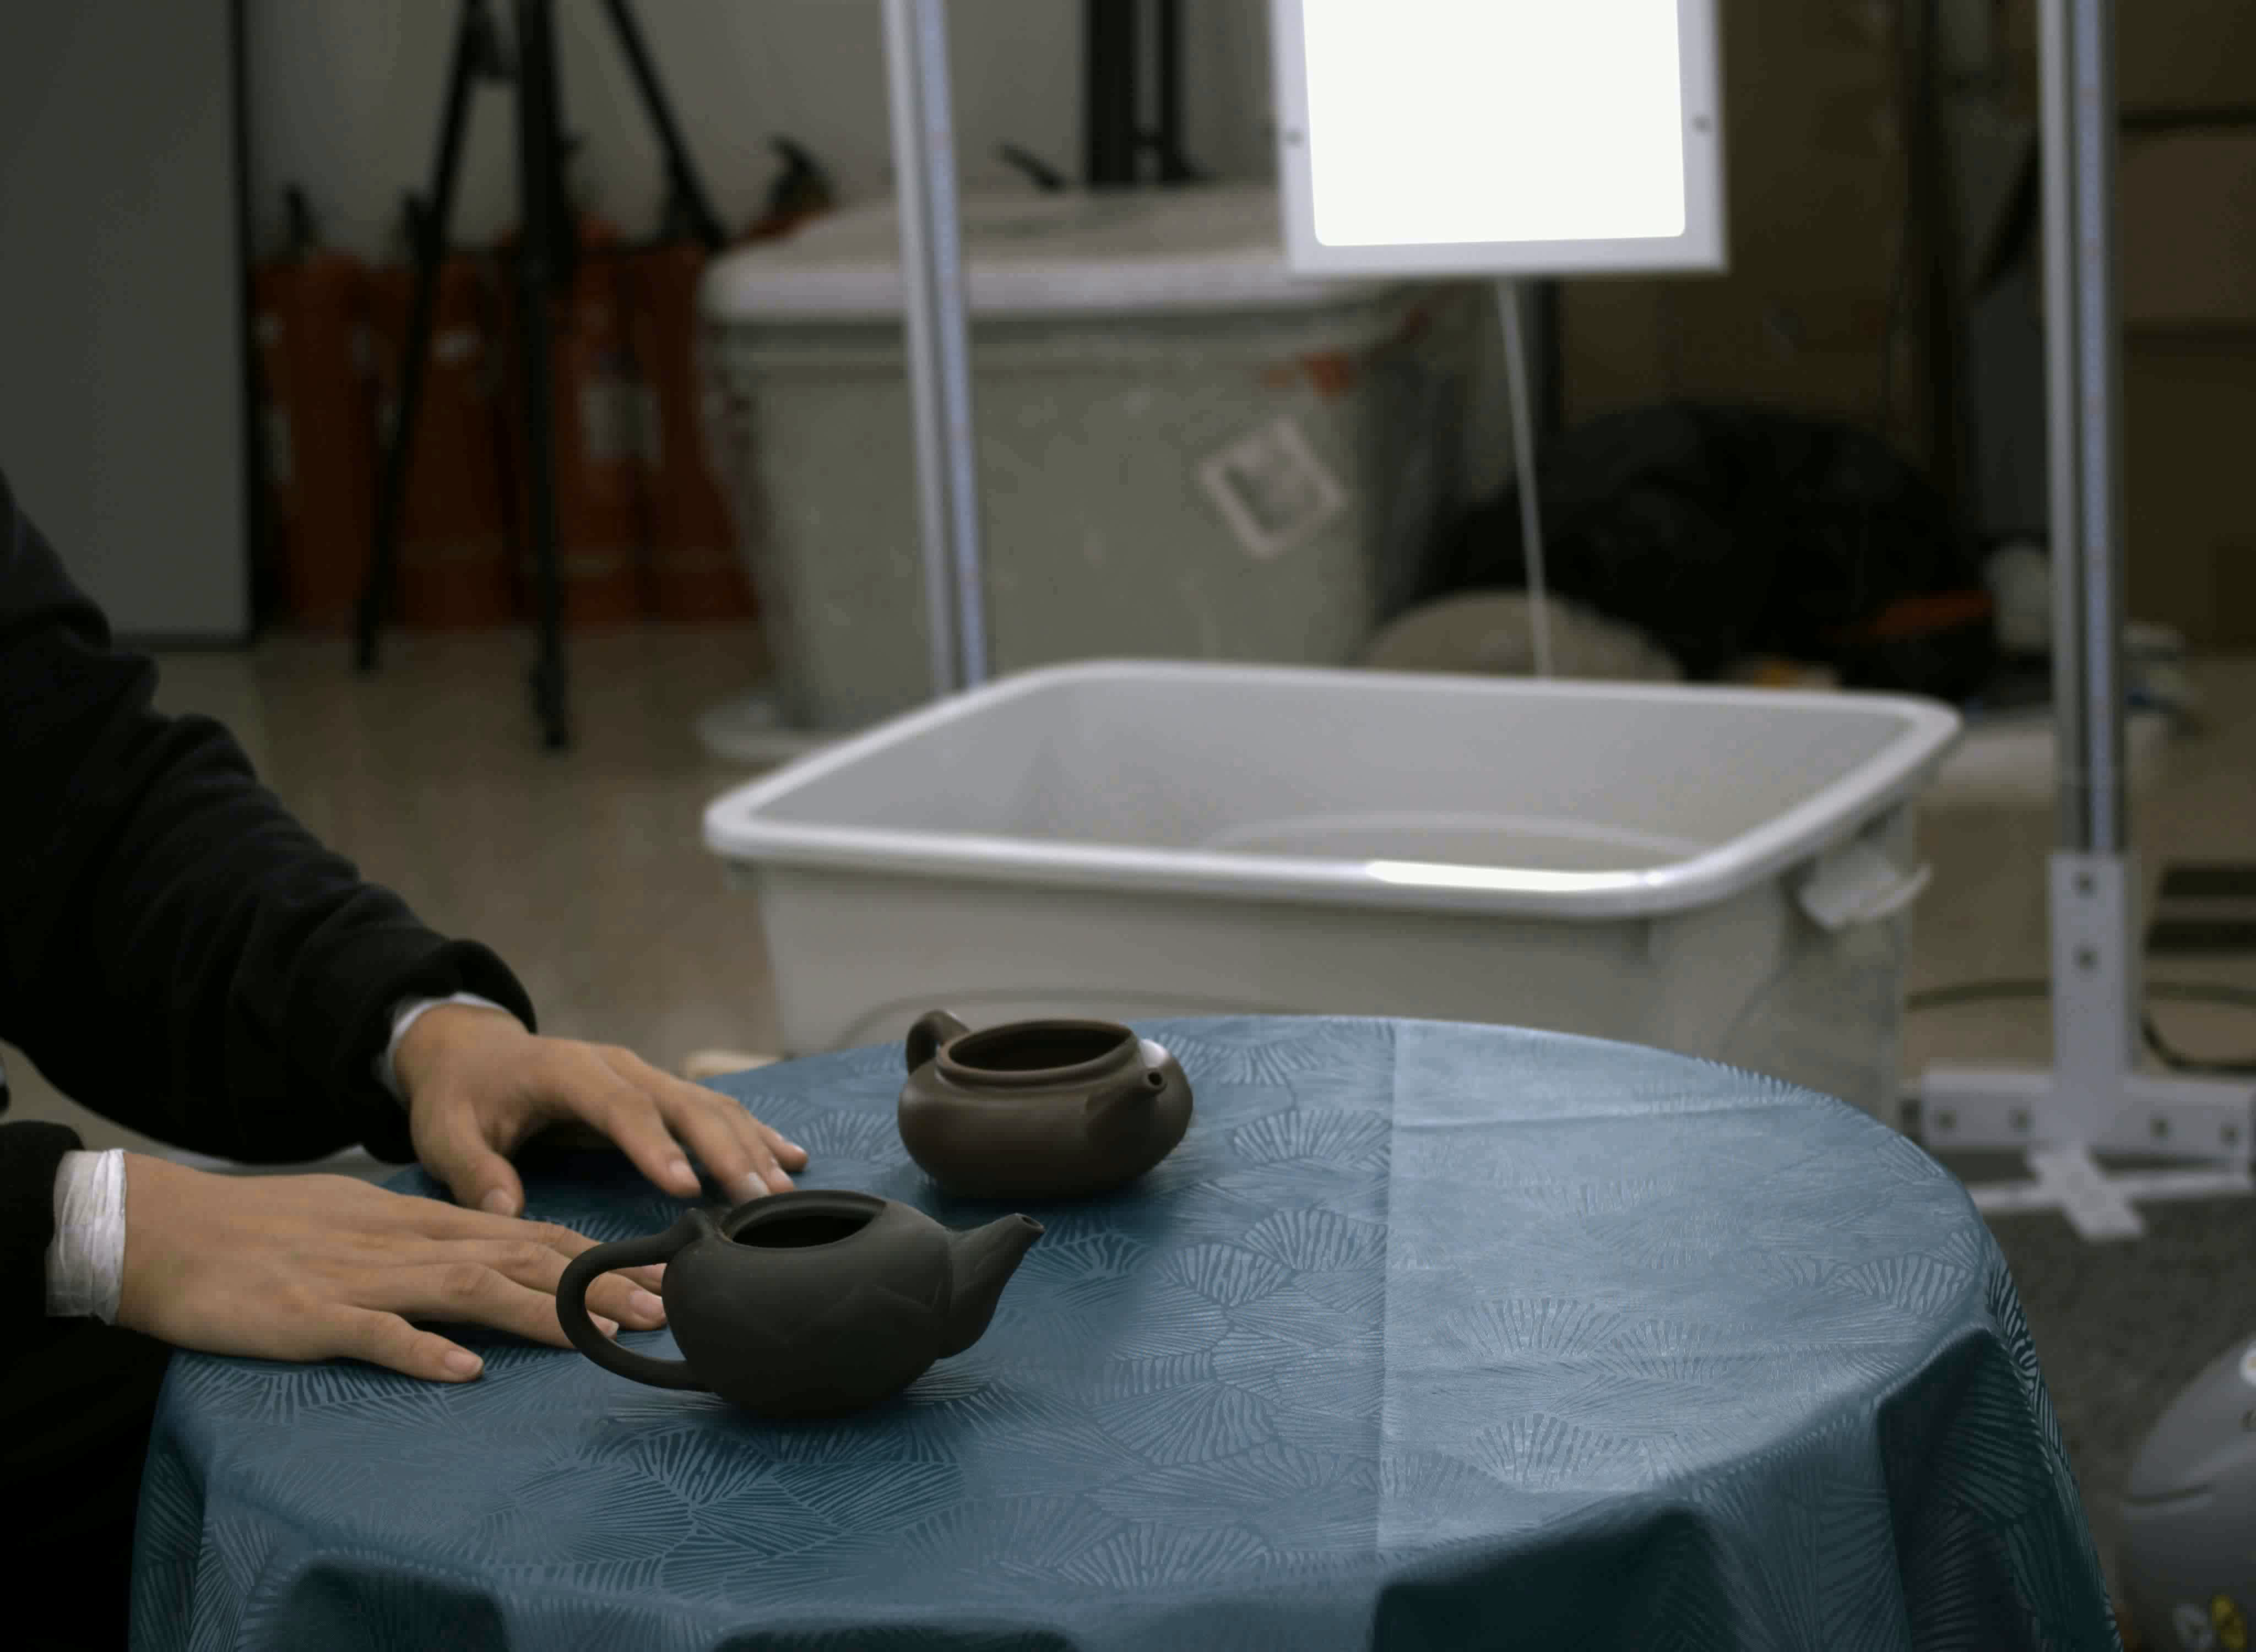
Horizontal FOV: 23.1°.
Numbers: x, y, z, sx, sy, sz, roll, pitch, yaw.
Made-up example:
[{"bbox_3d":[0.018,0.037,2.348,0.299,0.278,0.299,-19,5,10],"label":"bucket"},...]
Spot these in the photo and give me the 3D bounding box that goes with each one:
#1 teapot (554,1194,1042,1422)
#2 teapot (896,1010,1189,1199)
[{"bbox_3d":[-0.102,0.148,1.717,0.154,0.064,0.092,-4,12,3],"label":"teapot"},{"bbox_3d":[-0.033,0.096,1.921,0.100,0.054,0.157,-14,16,-38],"label":"teapot"}]
